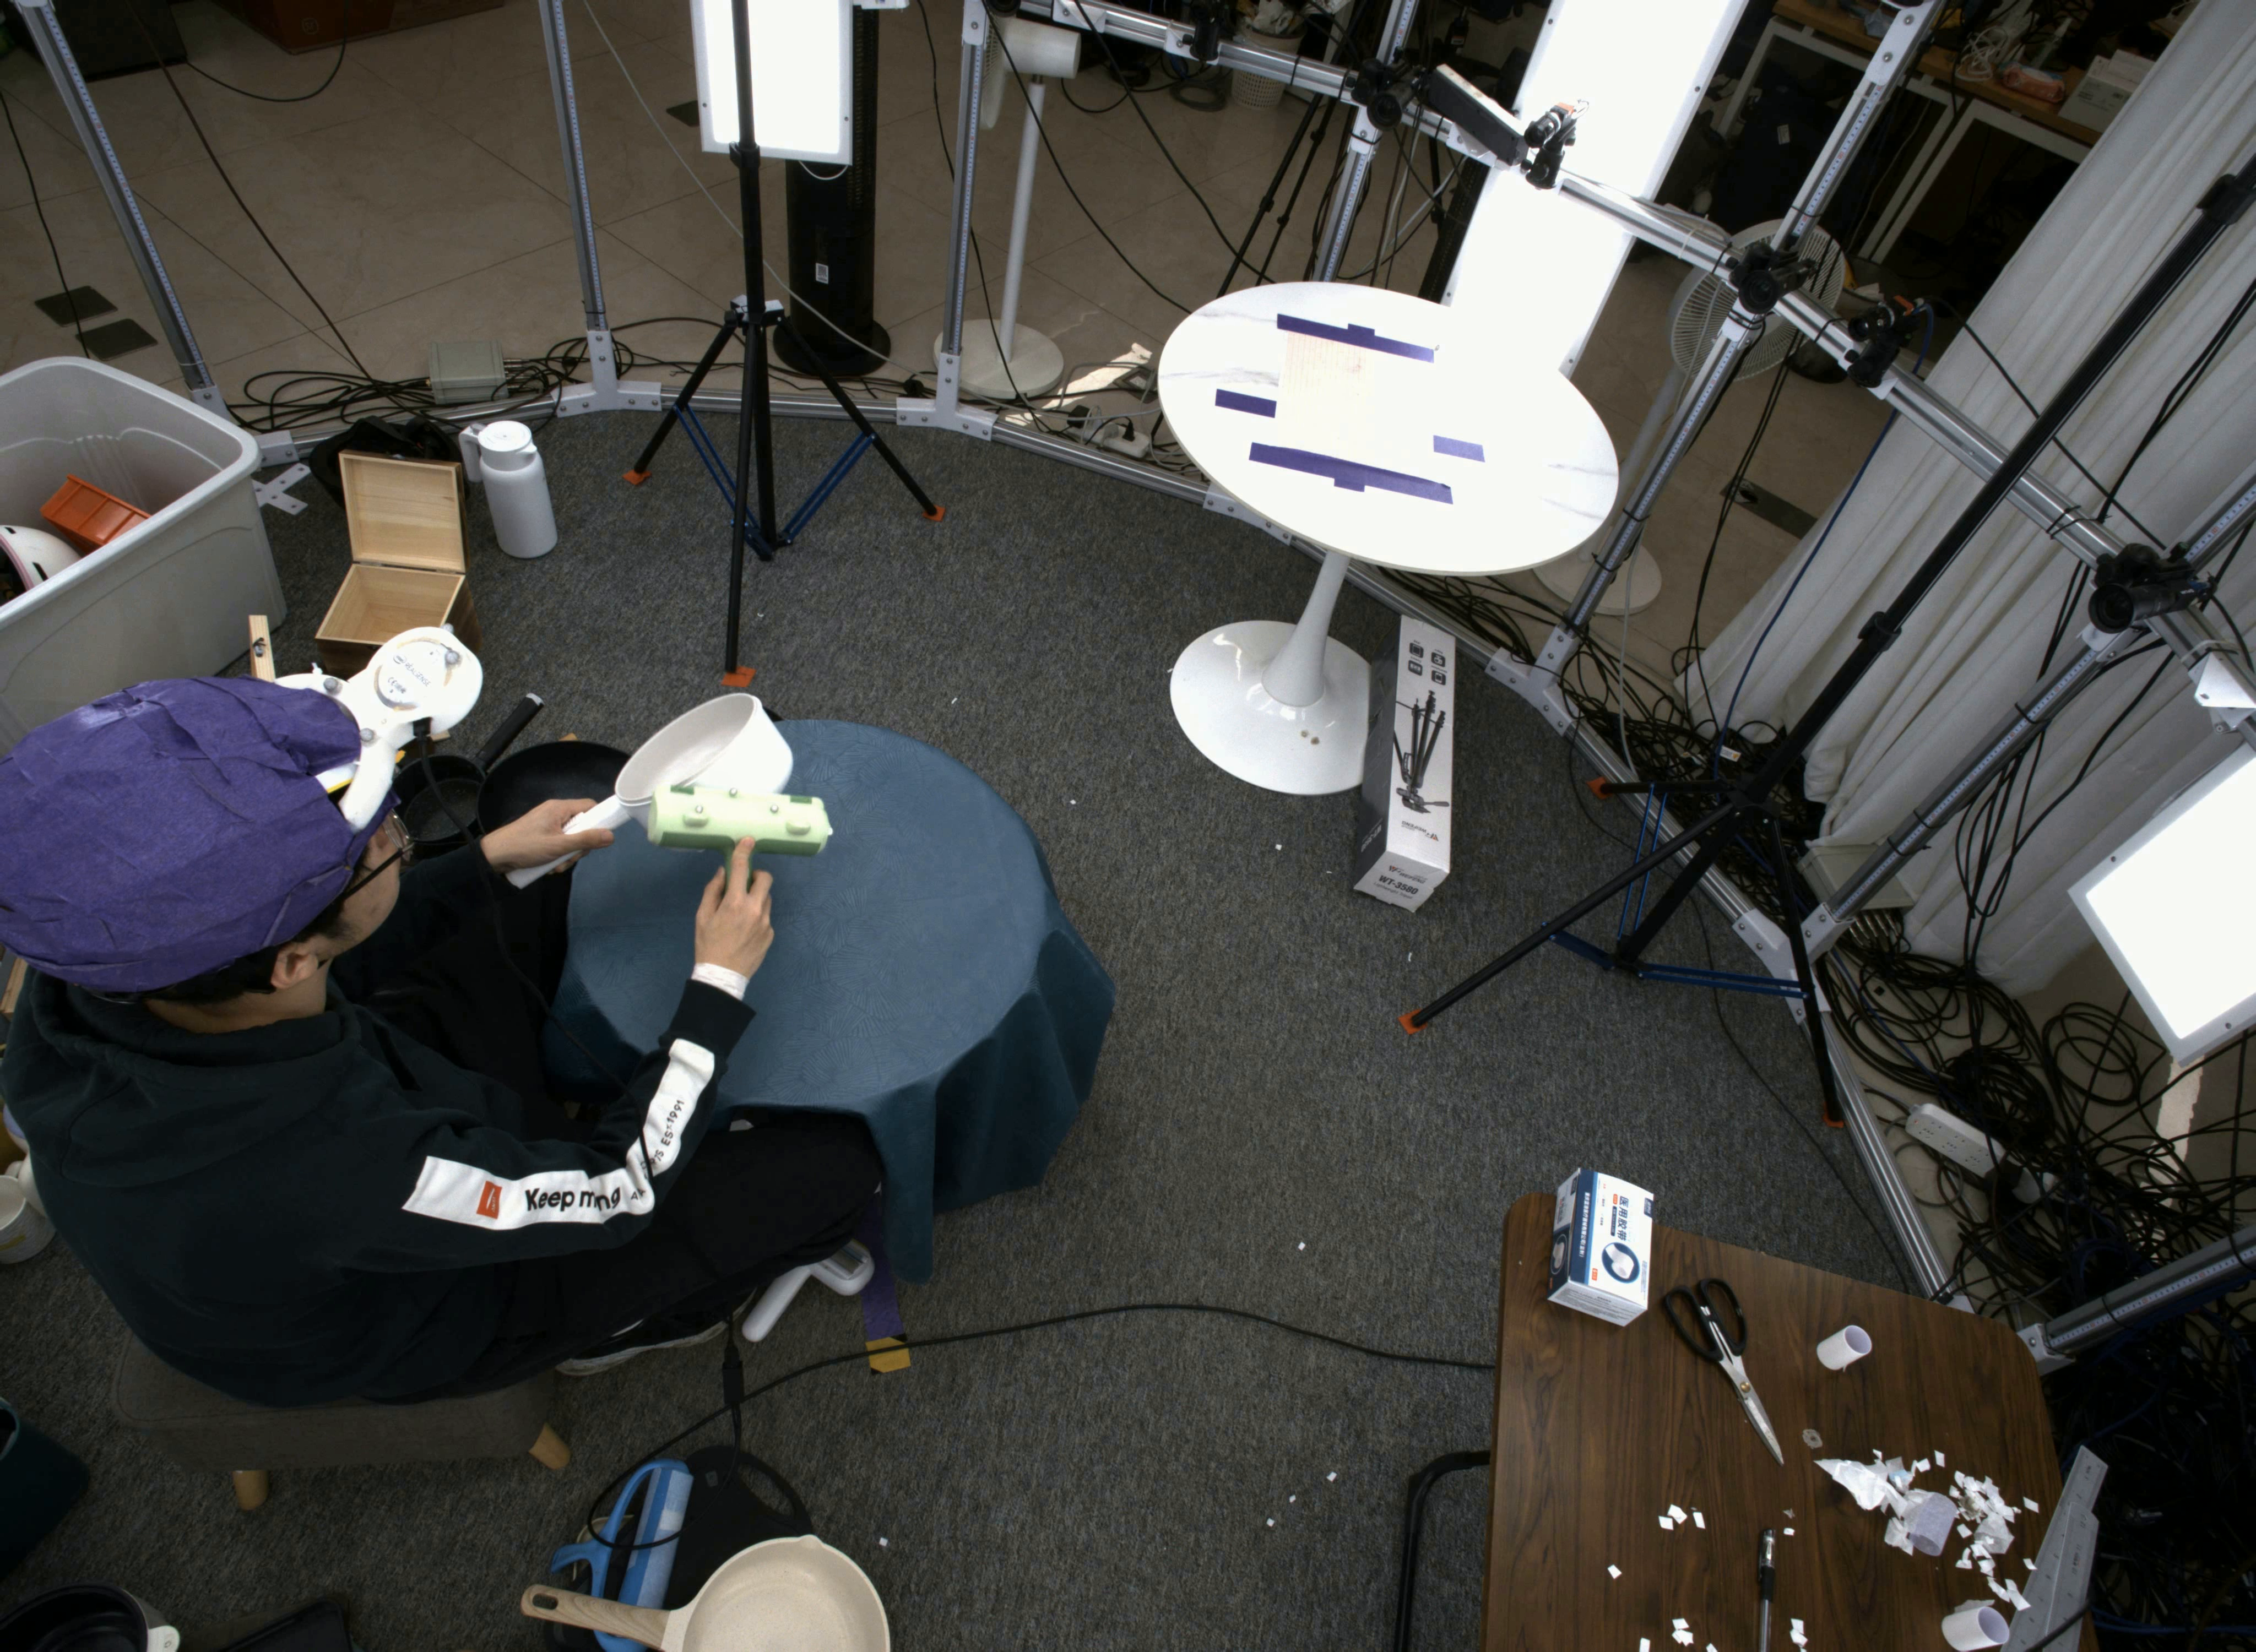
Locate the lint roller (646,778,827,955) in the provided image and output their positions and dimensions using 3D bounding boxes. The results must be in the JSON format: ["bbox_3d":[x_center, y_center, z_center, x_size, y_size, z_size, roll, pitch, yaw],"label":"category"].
[{"bbox_3d":[-0.428,0.042,1.428,0.202,0.081,0.182,6,70,-35],"label":"lint roller"}]

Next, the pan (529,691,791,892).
[{"bbox_3d":[-0.562,-0.016,1.528,0.354,0.106,0.194,-35,32,-7],"label":"pan"}]
